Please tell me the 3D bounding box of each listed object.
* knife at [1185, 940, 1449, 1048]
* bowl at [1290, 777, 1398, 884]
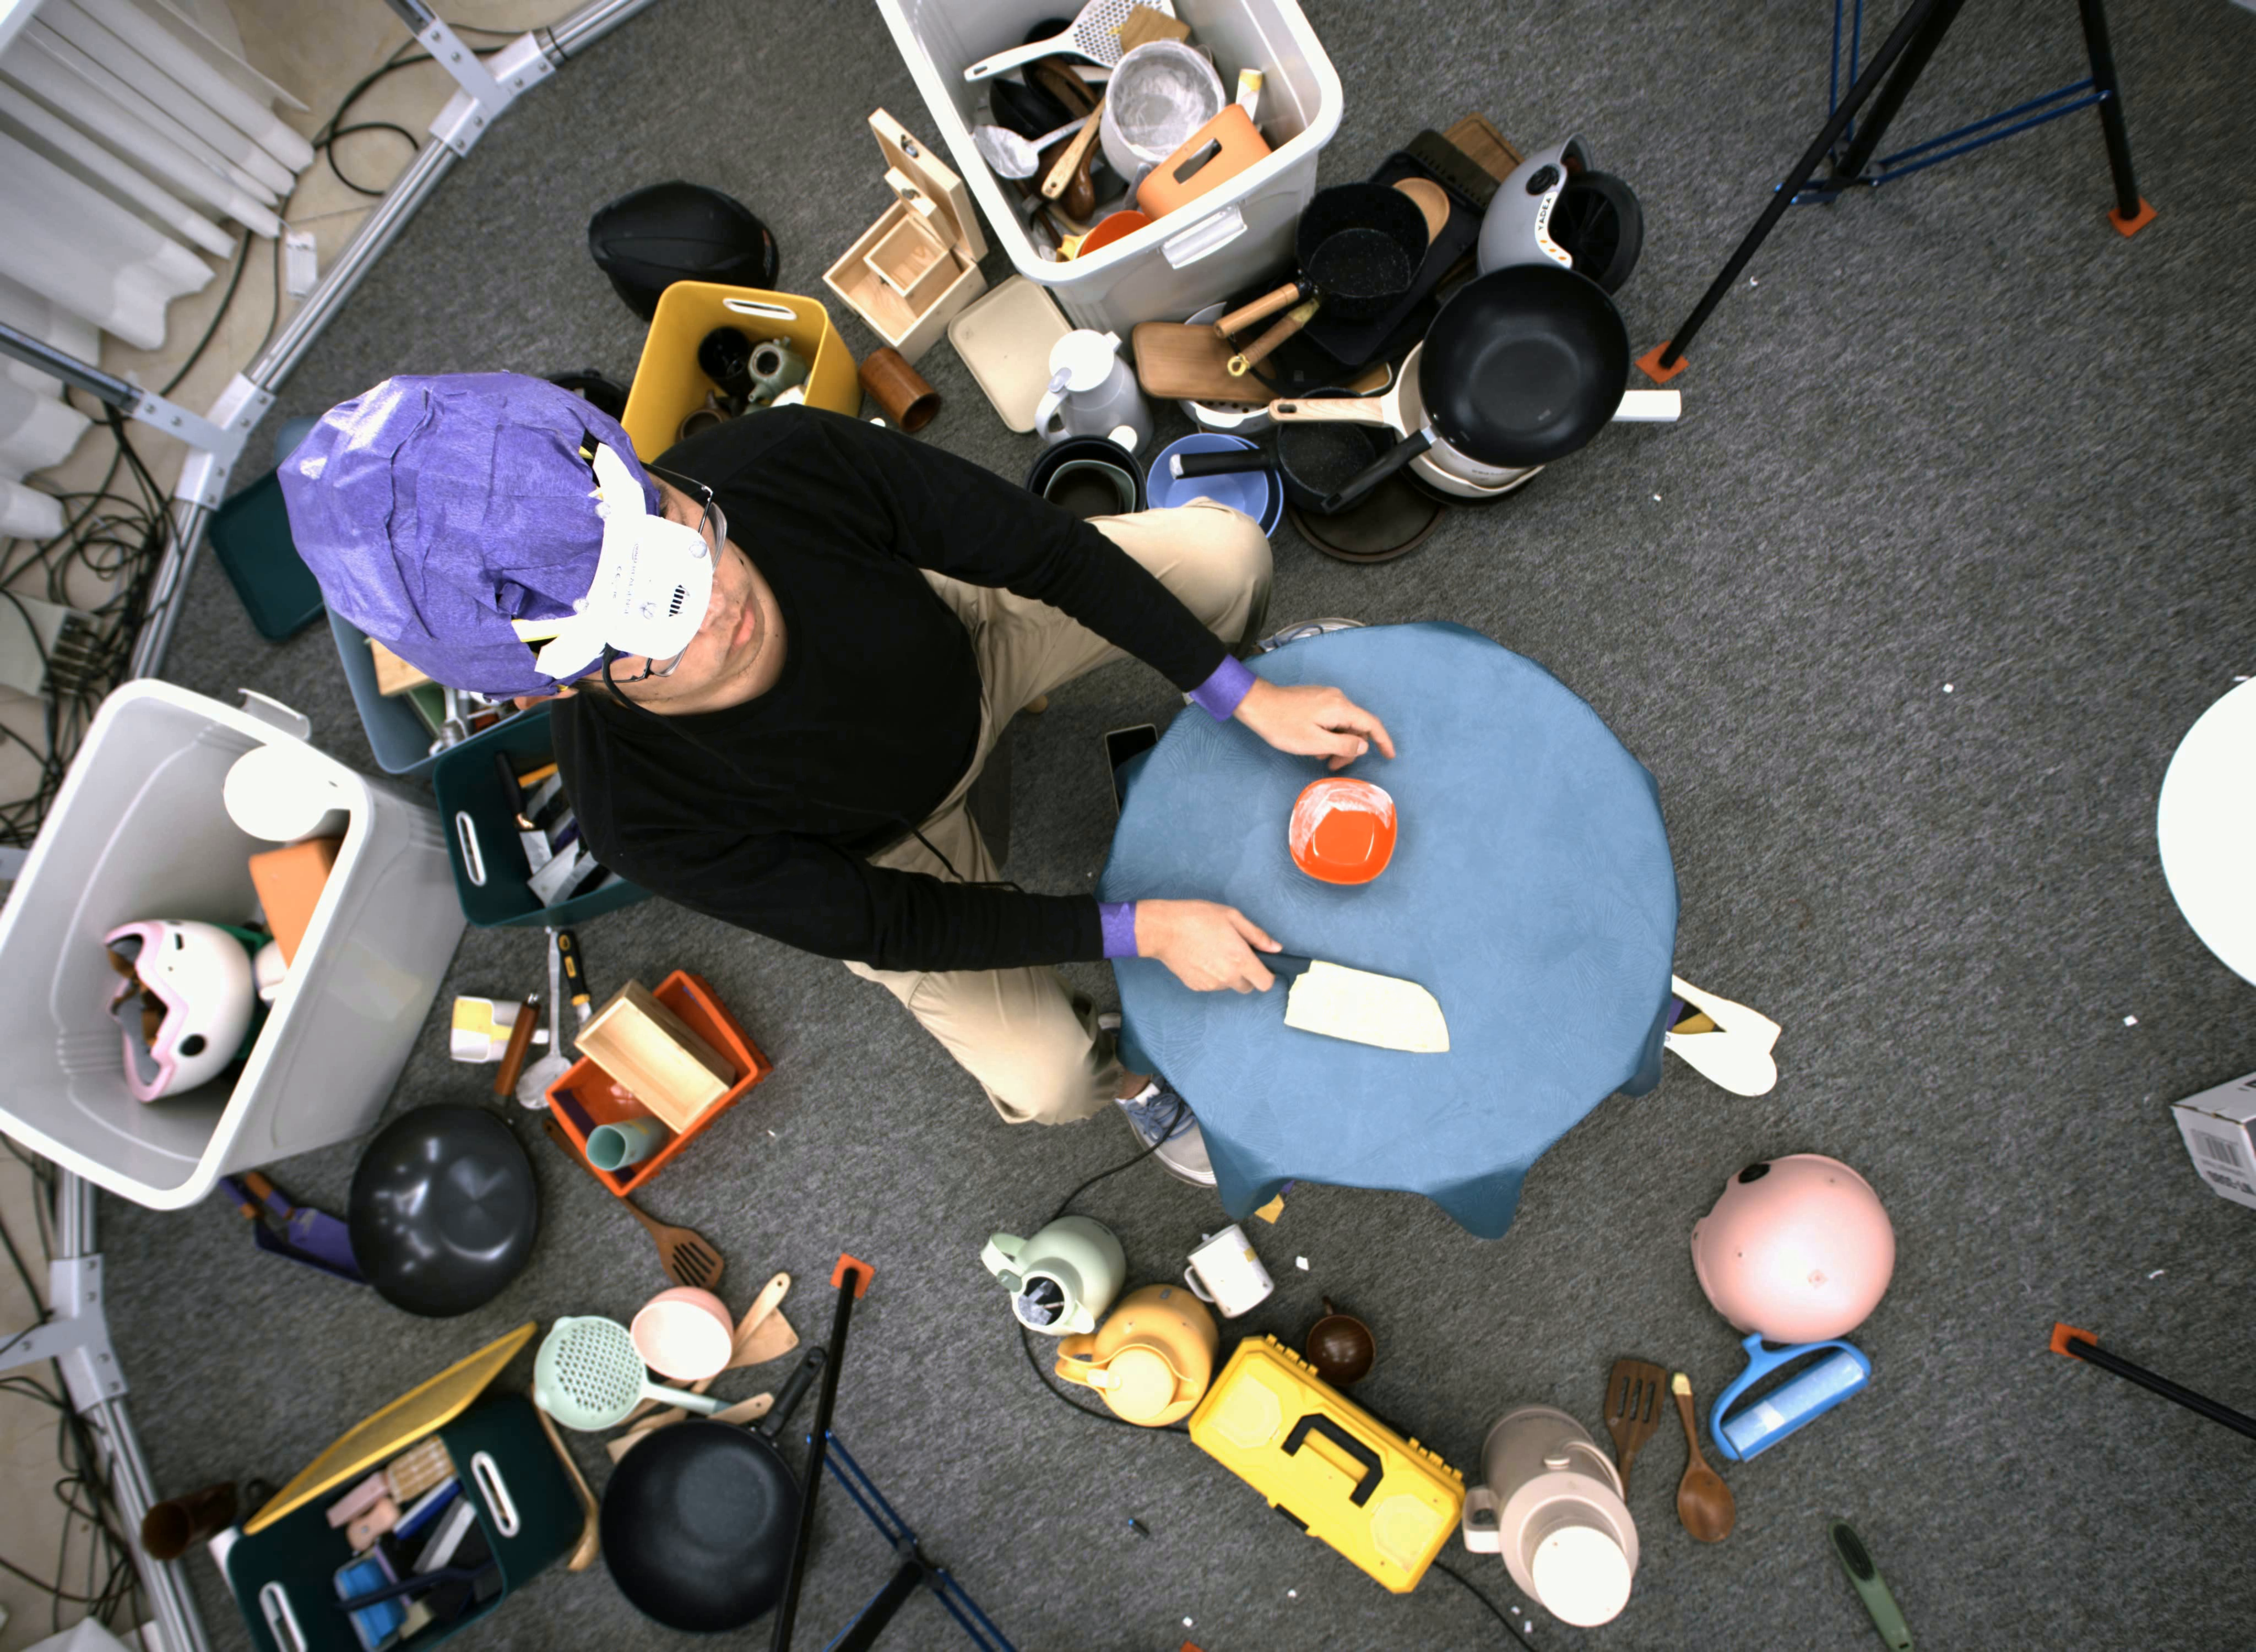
[{"bbox_3d":[0.196,0.174,1.454,0.290,0.027,0.081,15,93,7],"label":"knife"},{"bbox_3d":[0.226,0.005,1.446,0.119,0.051,0.118,0,89,10],"label":"bowl"}]
